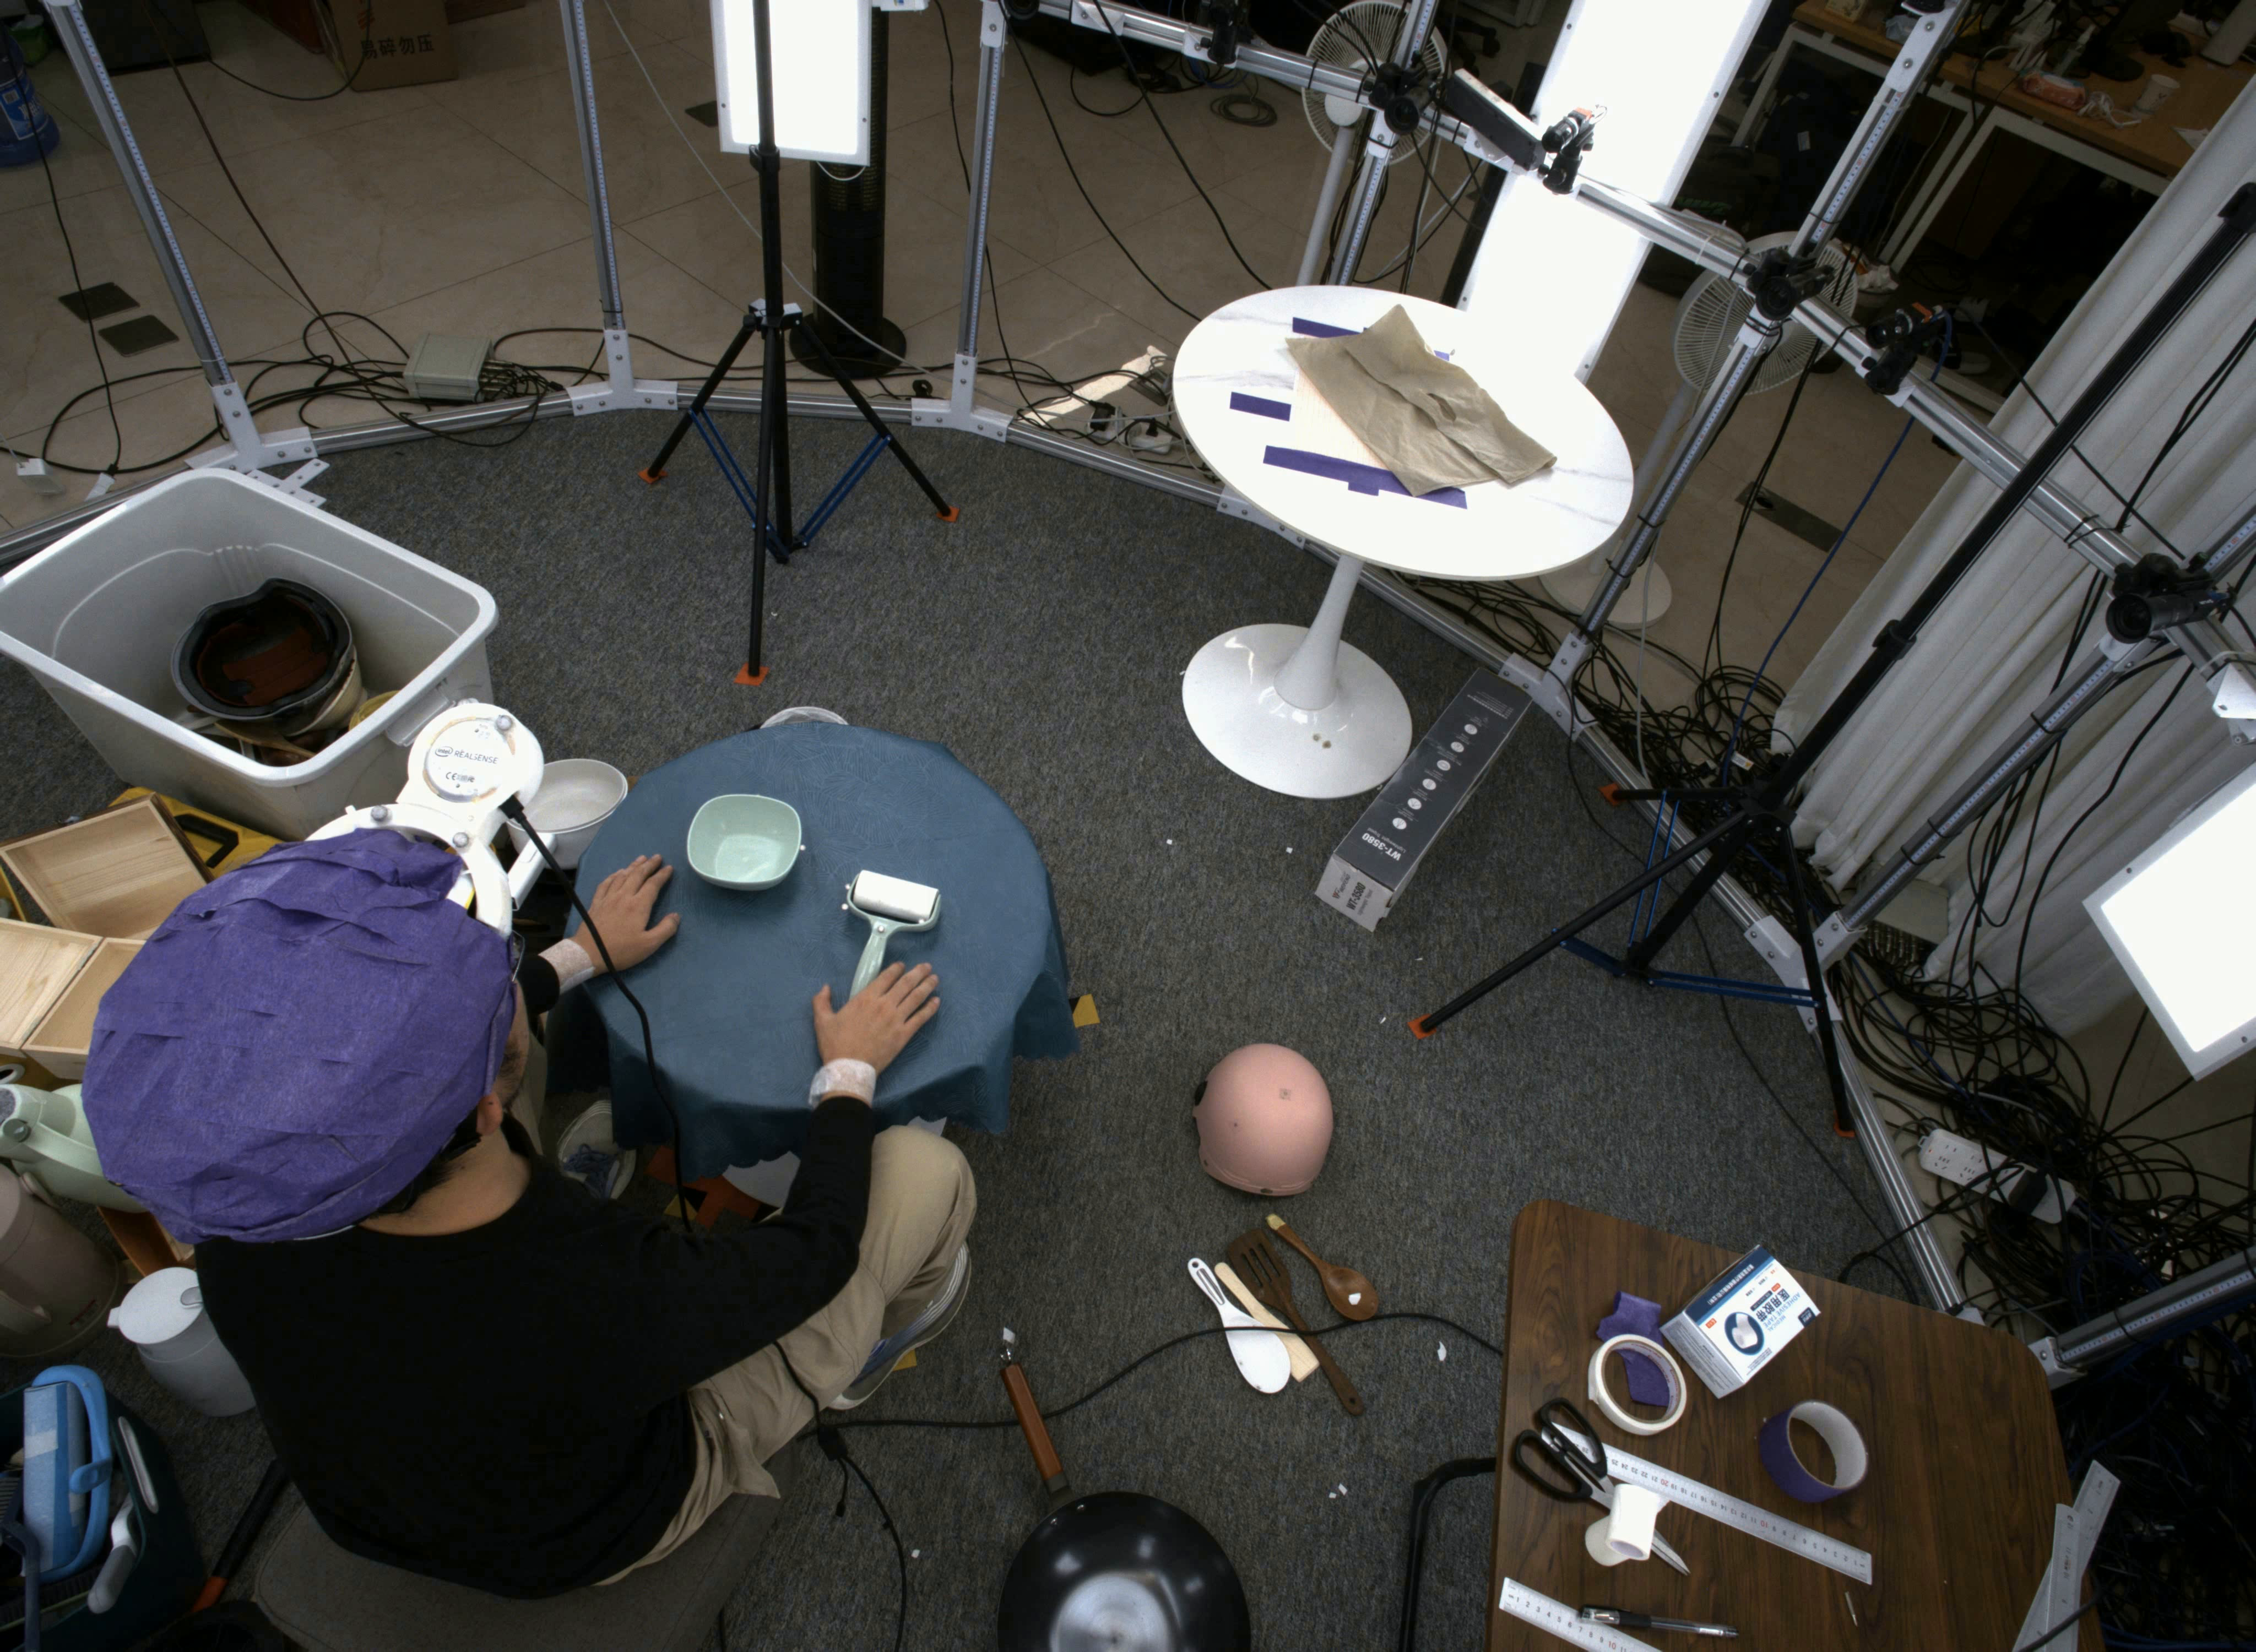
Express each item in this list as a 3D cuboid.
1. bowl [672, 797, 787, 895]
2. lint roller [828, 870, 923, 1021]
[{"bbox_3d":[-0.503,0.034,1.636,0.151,0.060,0.148,9,51,-9],"label":"bowl"},{"bbox_3d":[-0.329,0.145,1.607,0.116,0.049,0.195,15,53,-5],"label":"lint roller"}]
